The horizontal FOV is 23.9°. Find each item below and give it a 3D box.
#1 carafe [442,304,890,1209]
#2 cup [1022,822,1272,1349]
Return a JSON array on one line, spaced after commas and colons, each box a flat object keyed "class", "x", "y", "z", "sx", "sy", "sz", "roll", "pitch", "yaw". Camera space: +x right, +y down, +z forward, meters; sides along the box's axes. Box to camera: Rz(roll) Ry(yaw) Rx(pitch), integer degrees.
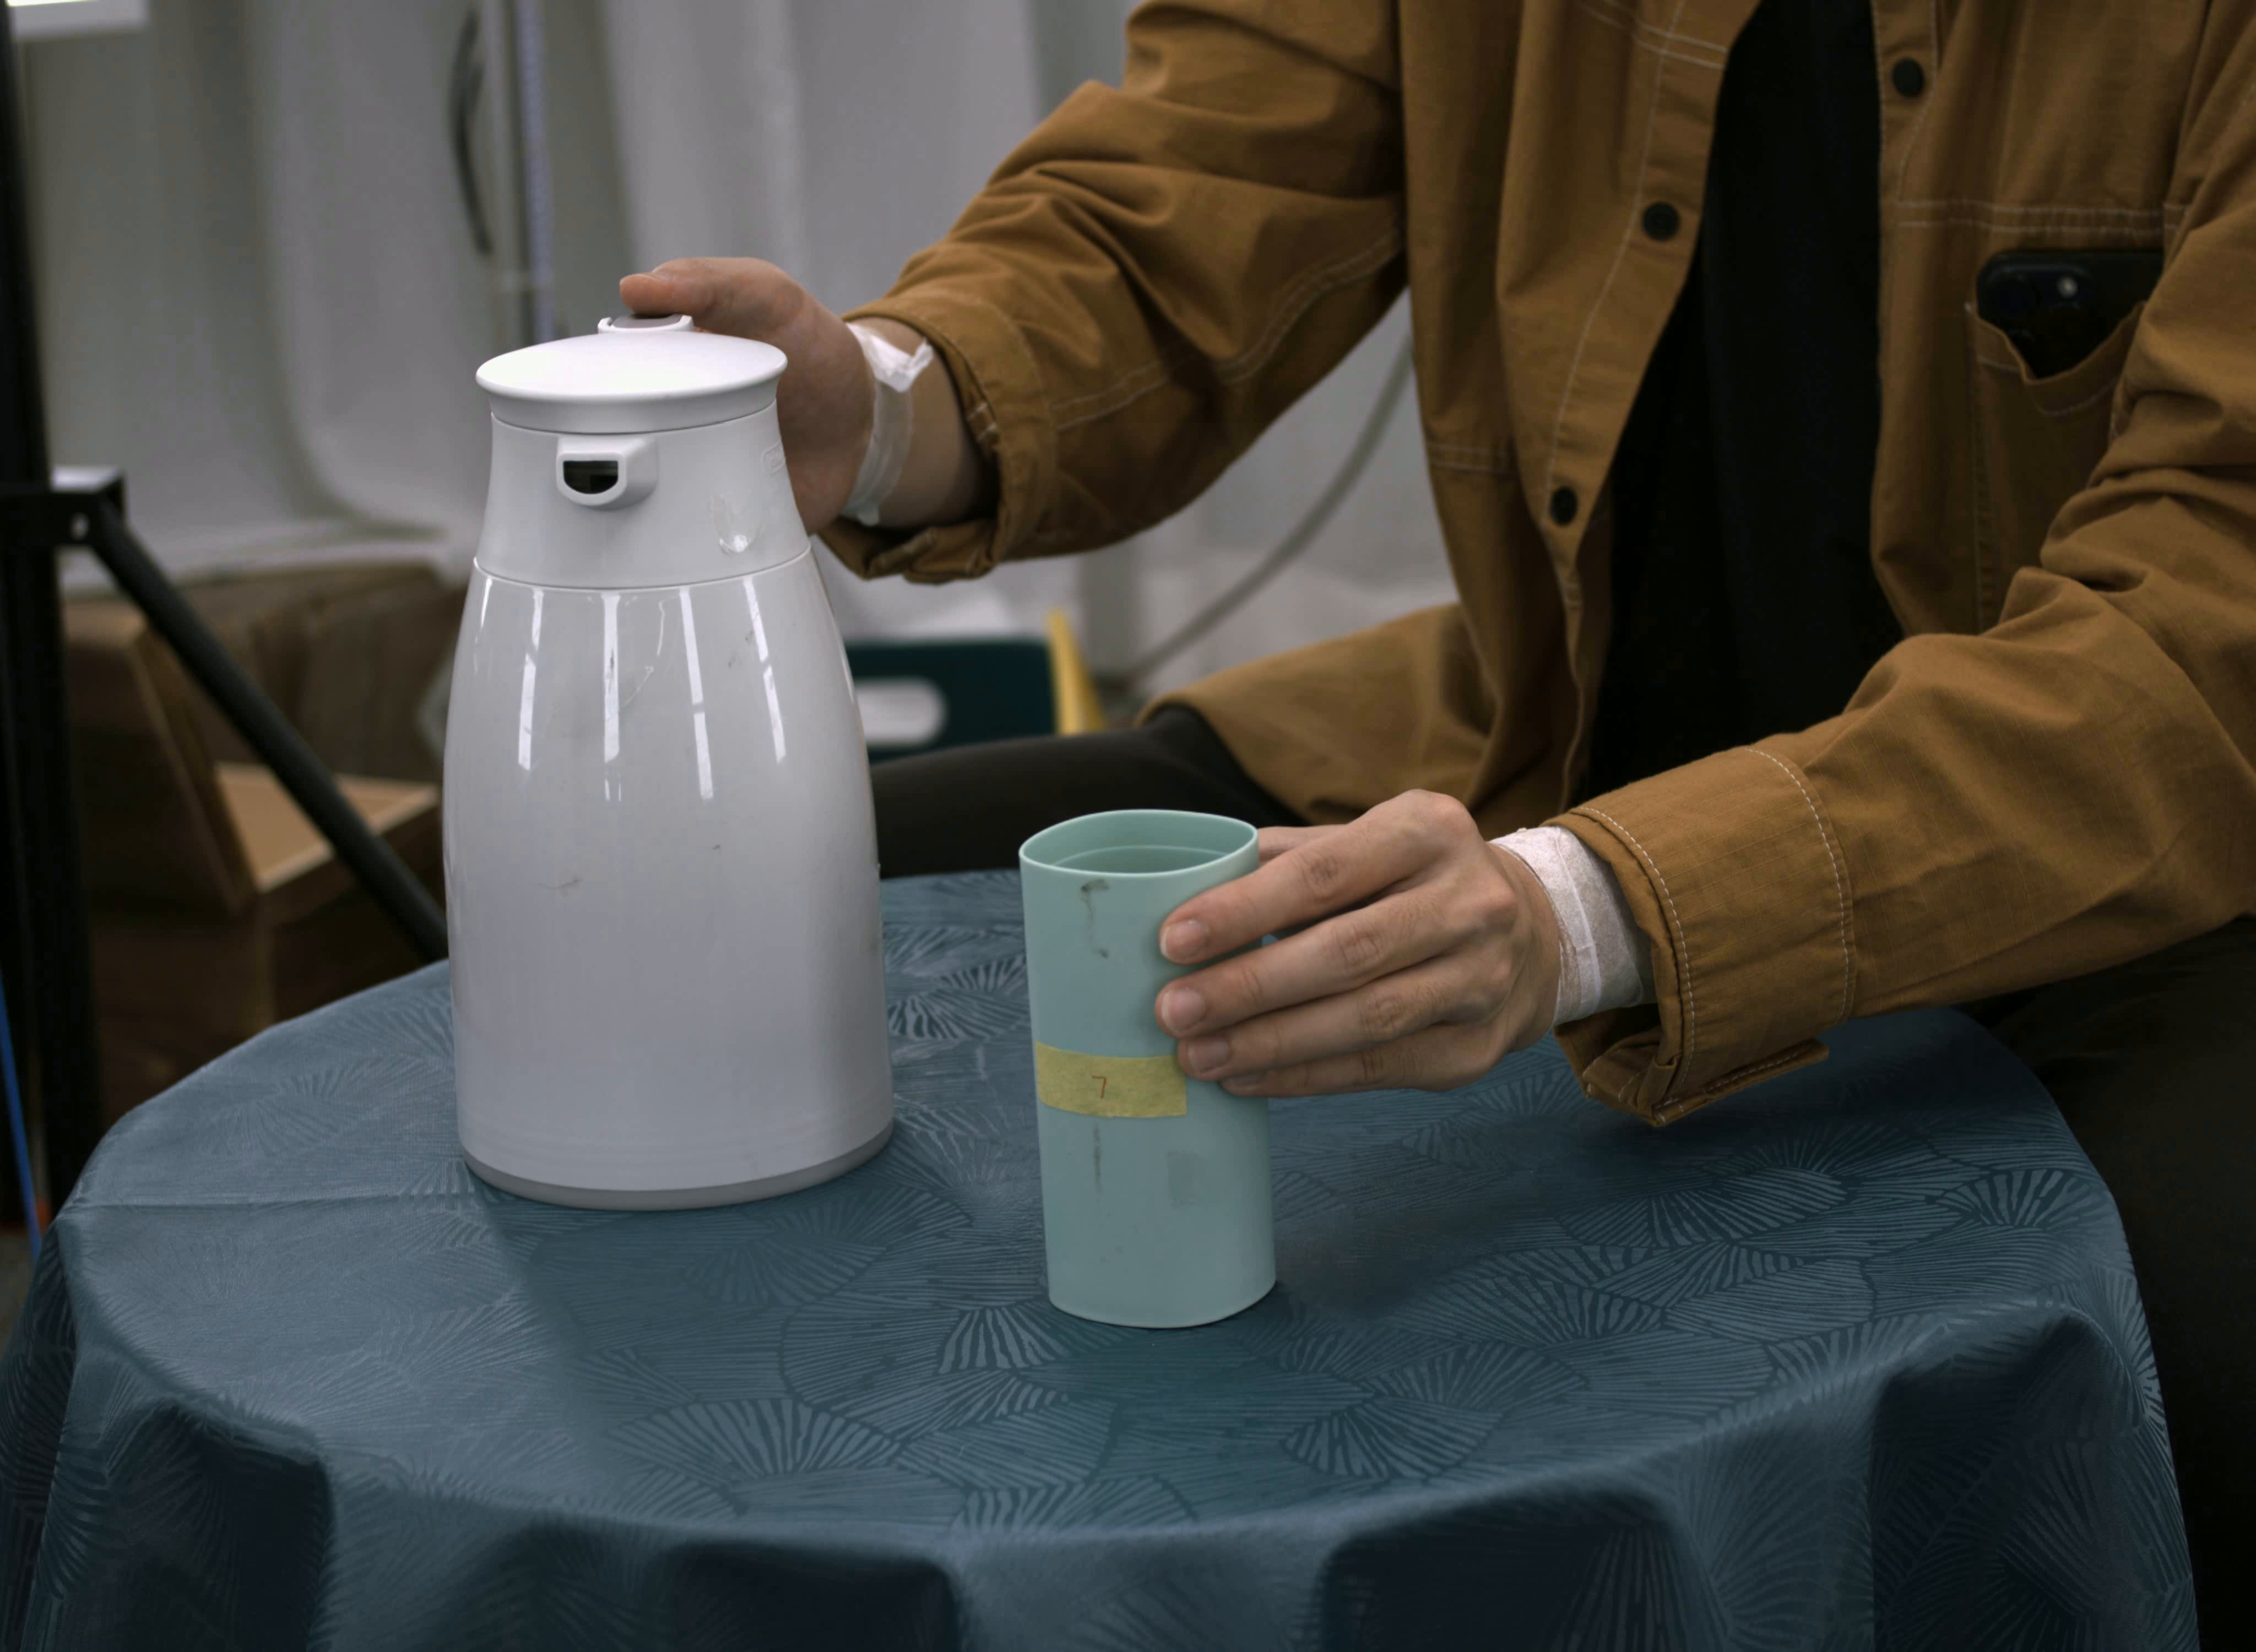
[{"class": "carafe", "x": -0.140, "y": -0.029, "z": 1.609, "sx": 0.132, "sy": 0.248, "sz": 0.167, "roll": 0, "pitch": 15, "yaw": 7}, {"class": "cup", "x": 0.007, "y": 0.070, "z": 1.460, "sx": 0.066, "sy": 0.132, "sz": 0.067, "roll": -2, "pitch": 15, "yaw": -1}]
